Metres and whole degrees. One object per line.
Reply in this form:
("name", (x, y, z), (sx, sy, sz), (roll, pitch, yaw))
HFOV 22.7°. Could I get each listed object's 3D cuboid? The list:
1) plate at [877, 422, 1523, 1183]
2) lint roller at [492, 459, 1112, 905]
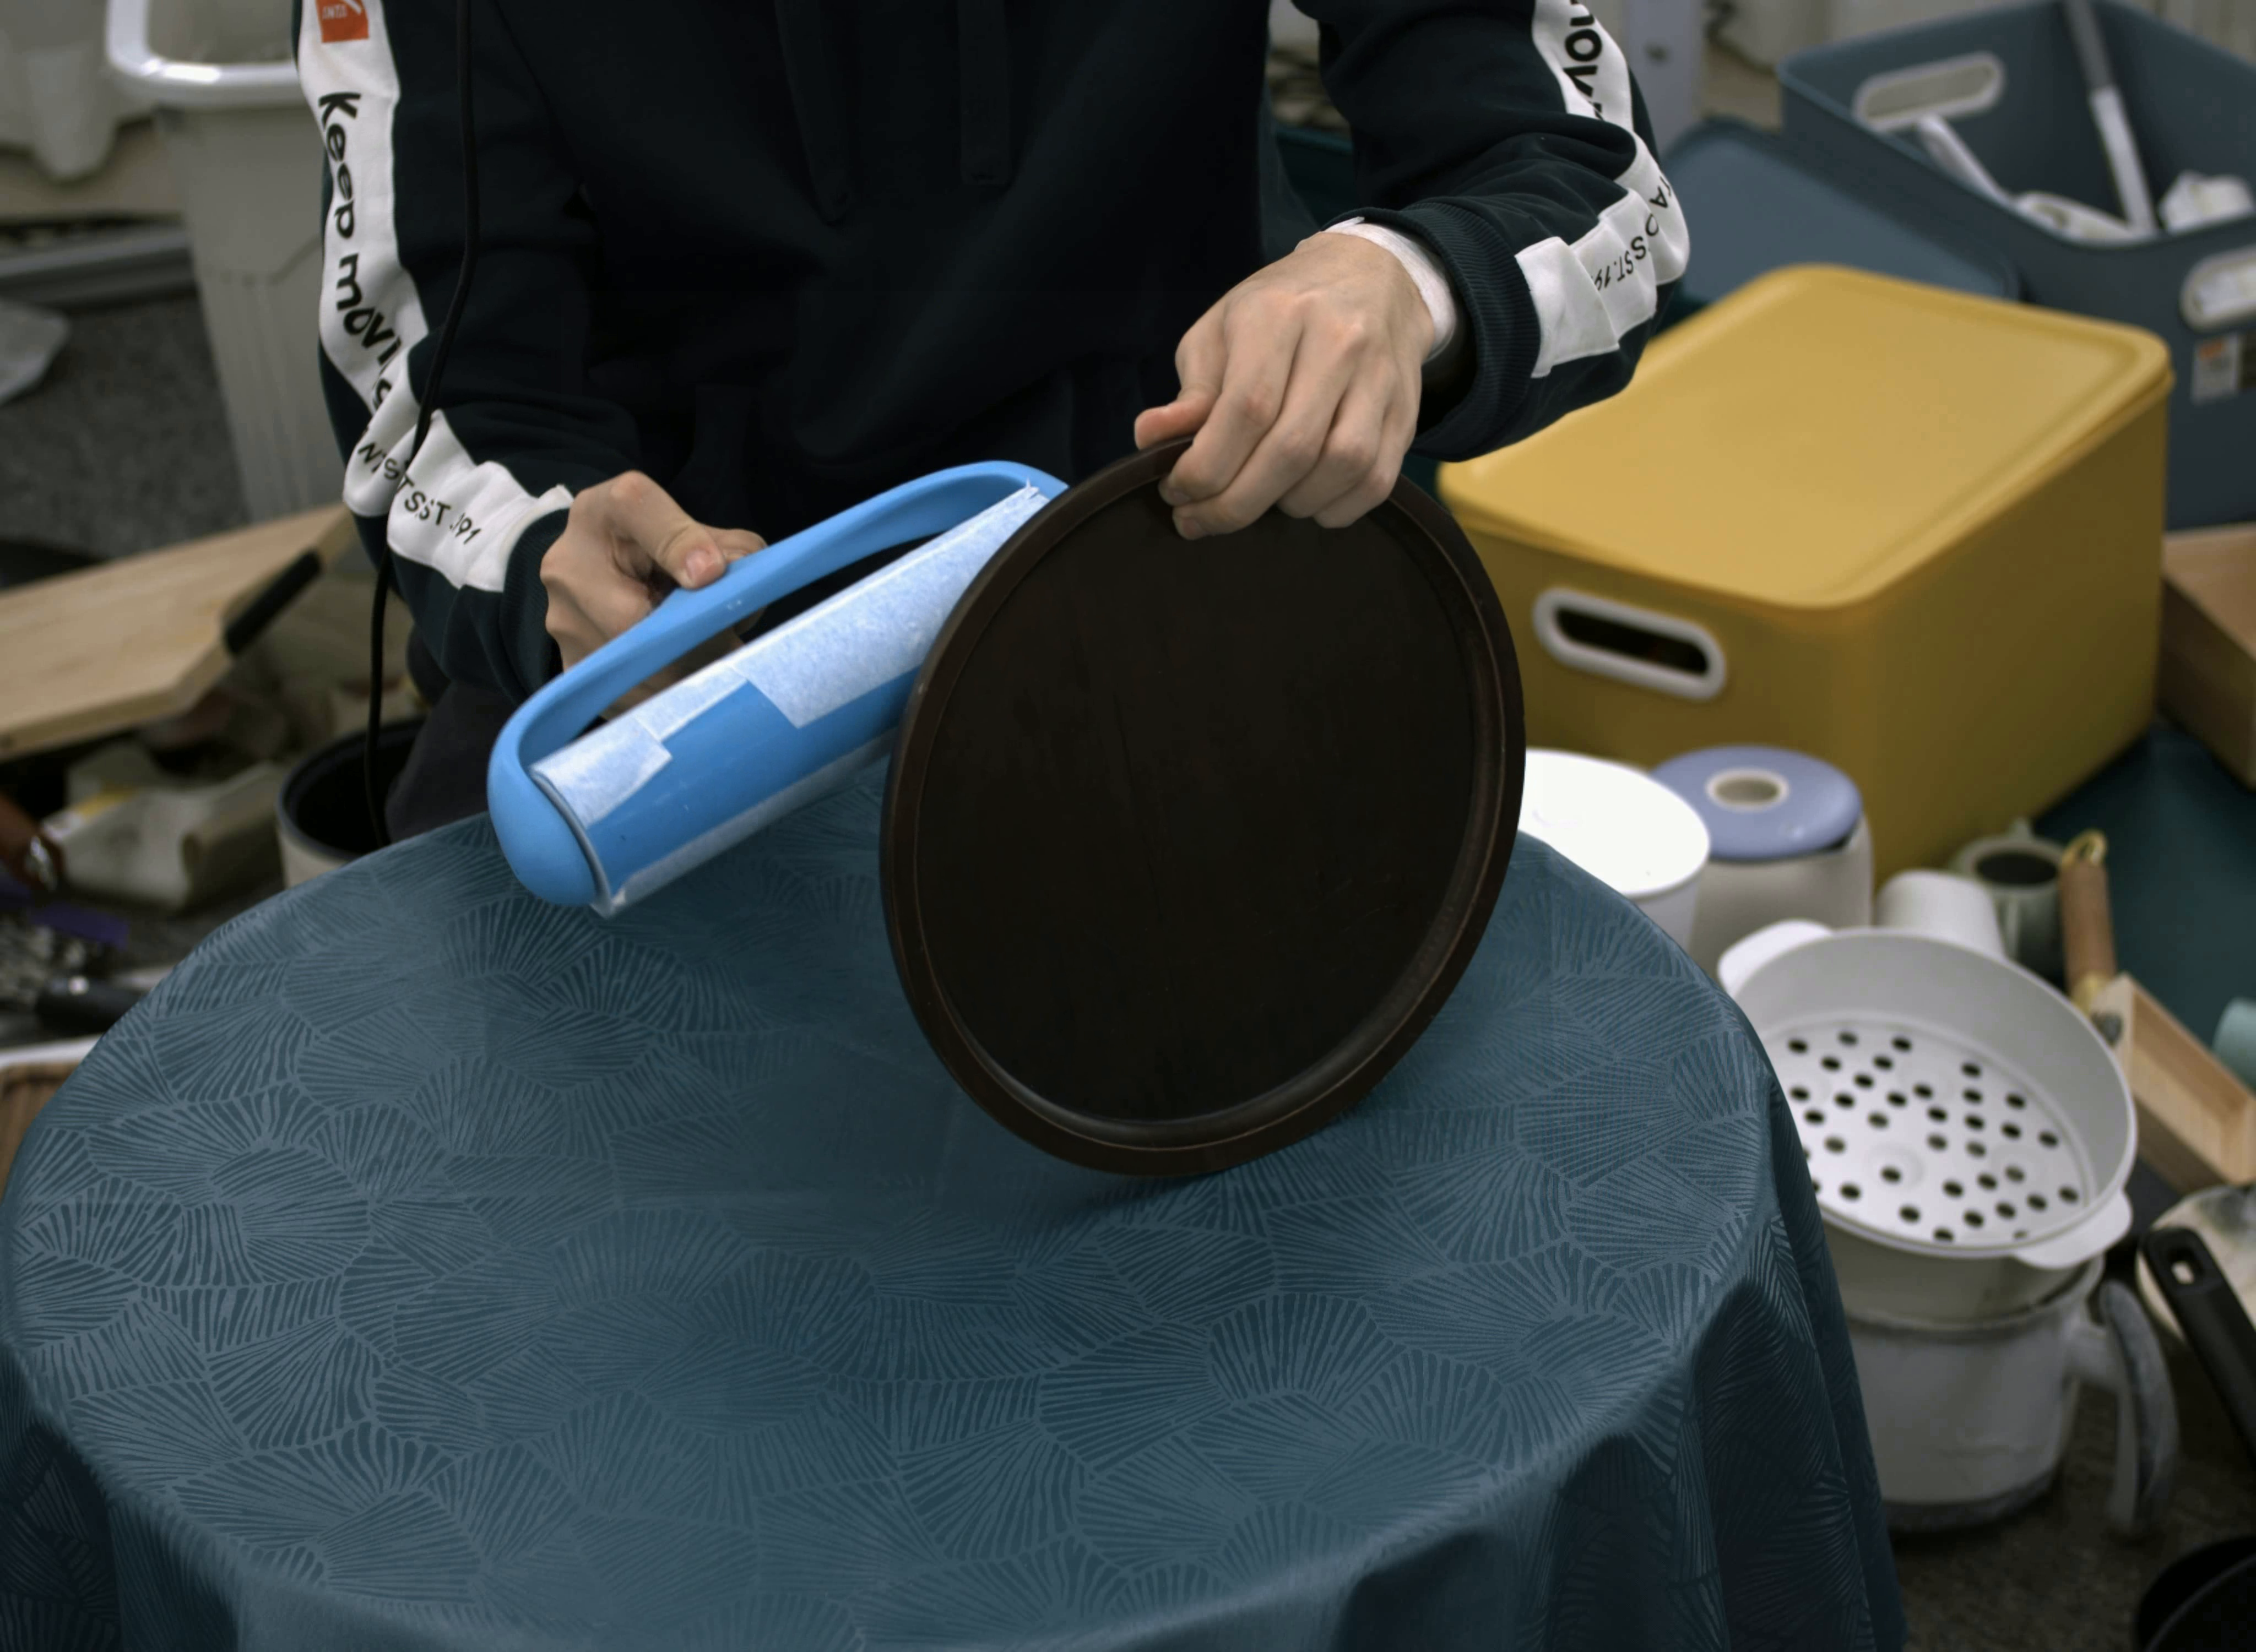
("plate", (0.024, -0.008, 1.842), (0.257, 0.253, 0.029), (-20, 23, -31))
("lint roller", (-0.126, -0.054, 1.851), (0.231, 0.067, 0.180), (-32, 23, -22))
